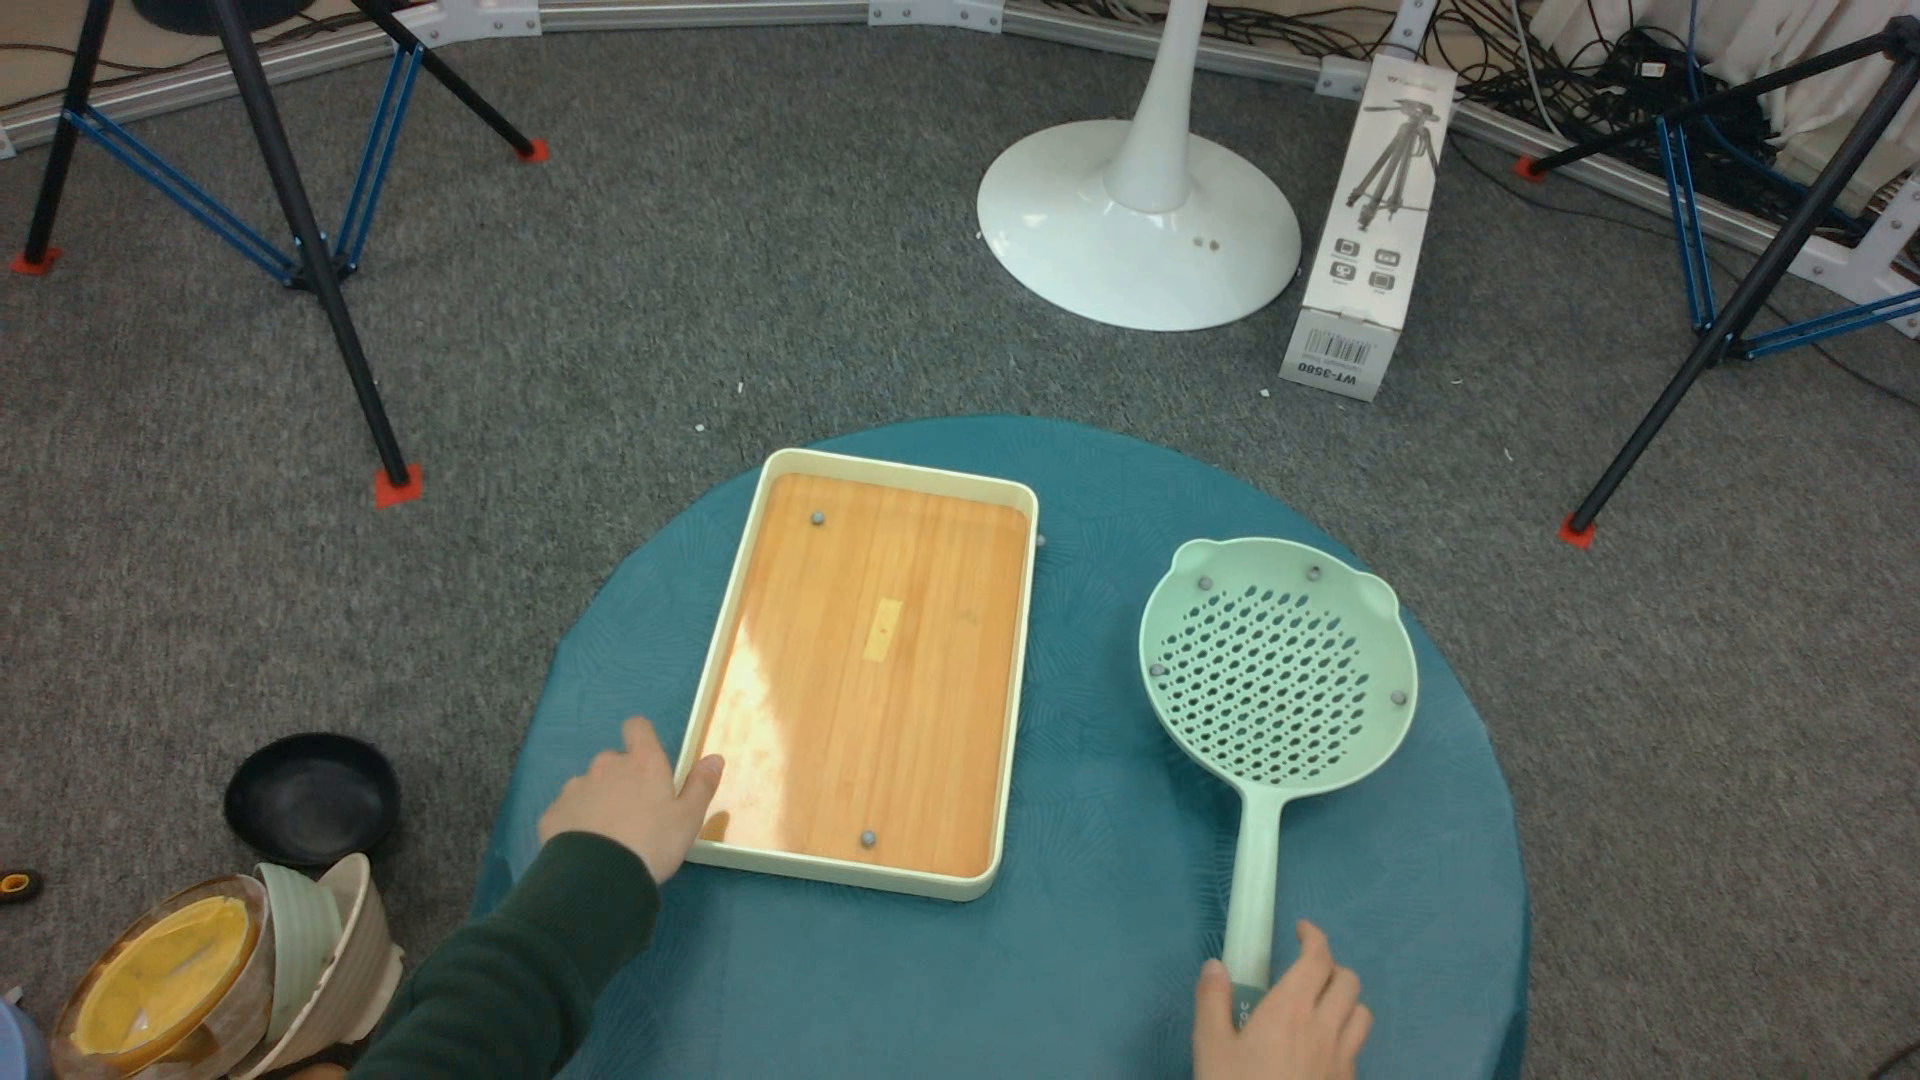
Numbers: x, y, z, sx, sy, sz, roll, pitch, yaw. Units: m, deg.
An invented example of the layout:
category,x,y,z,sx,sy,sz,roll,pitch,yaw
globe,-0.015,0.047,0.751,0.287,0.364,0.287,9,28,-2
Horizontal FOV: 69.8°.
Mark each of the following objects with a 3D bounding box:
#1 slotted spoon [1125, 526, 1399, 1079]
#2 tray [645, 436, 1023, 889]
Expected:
category,x,y,z,sx,sy,sz,roll,pitch,yaw
slotted spoon,0.162,0.152,0.793,0.169,0.075,0.360,12,51,3
tray,-0.067,0.063,0.856,0.191,0.027,0.302,9,50,-1
